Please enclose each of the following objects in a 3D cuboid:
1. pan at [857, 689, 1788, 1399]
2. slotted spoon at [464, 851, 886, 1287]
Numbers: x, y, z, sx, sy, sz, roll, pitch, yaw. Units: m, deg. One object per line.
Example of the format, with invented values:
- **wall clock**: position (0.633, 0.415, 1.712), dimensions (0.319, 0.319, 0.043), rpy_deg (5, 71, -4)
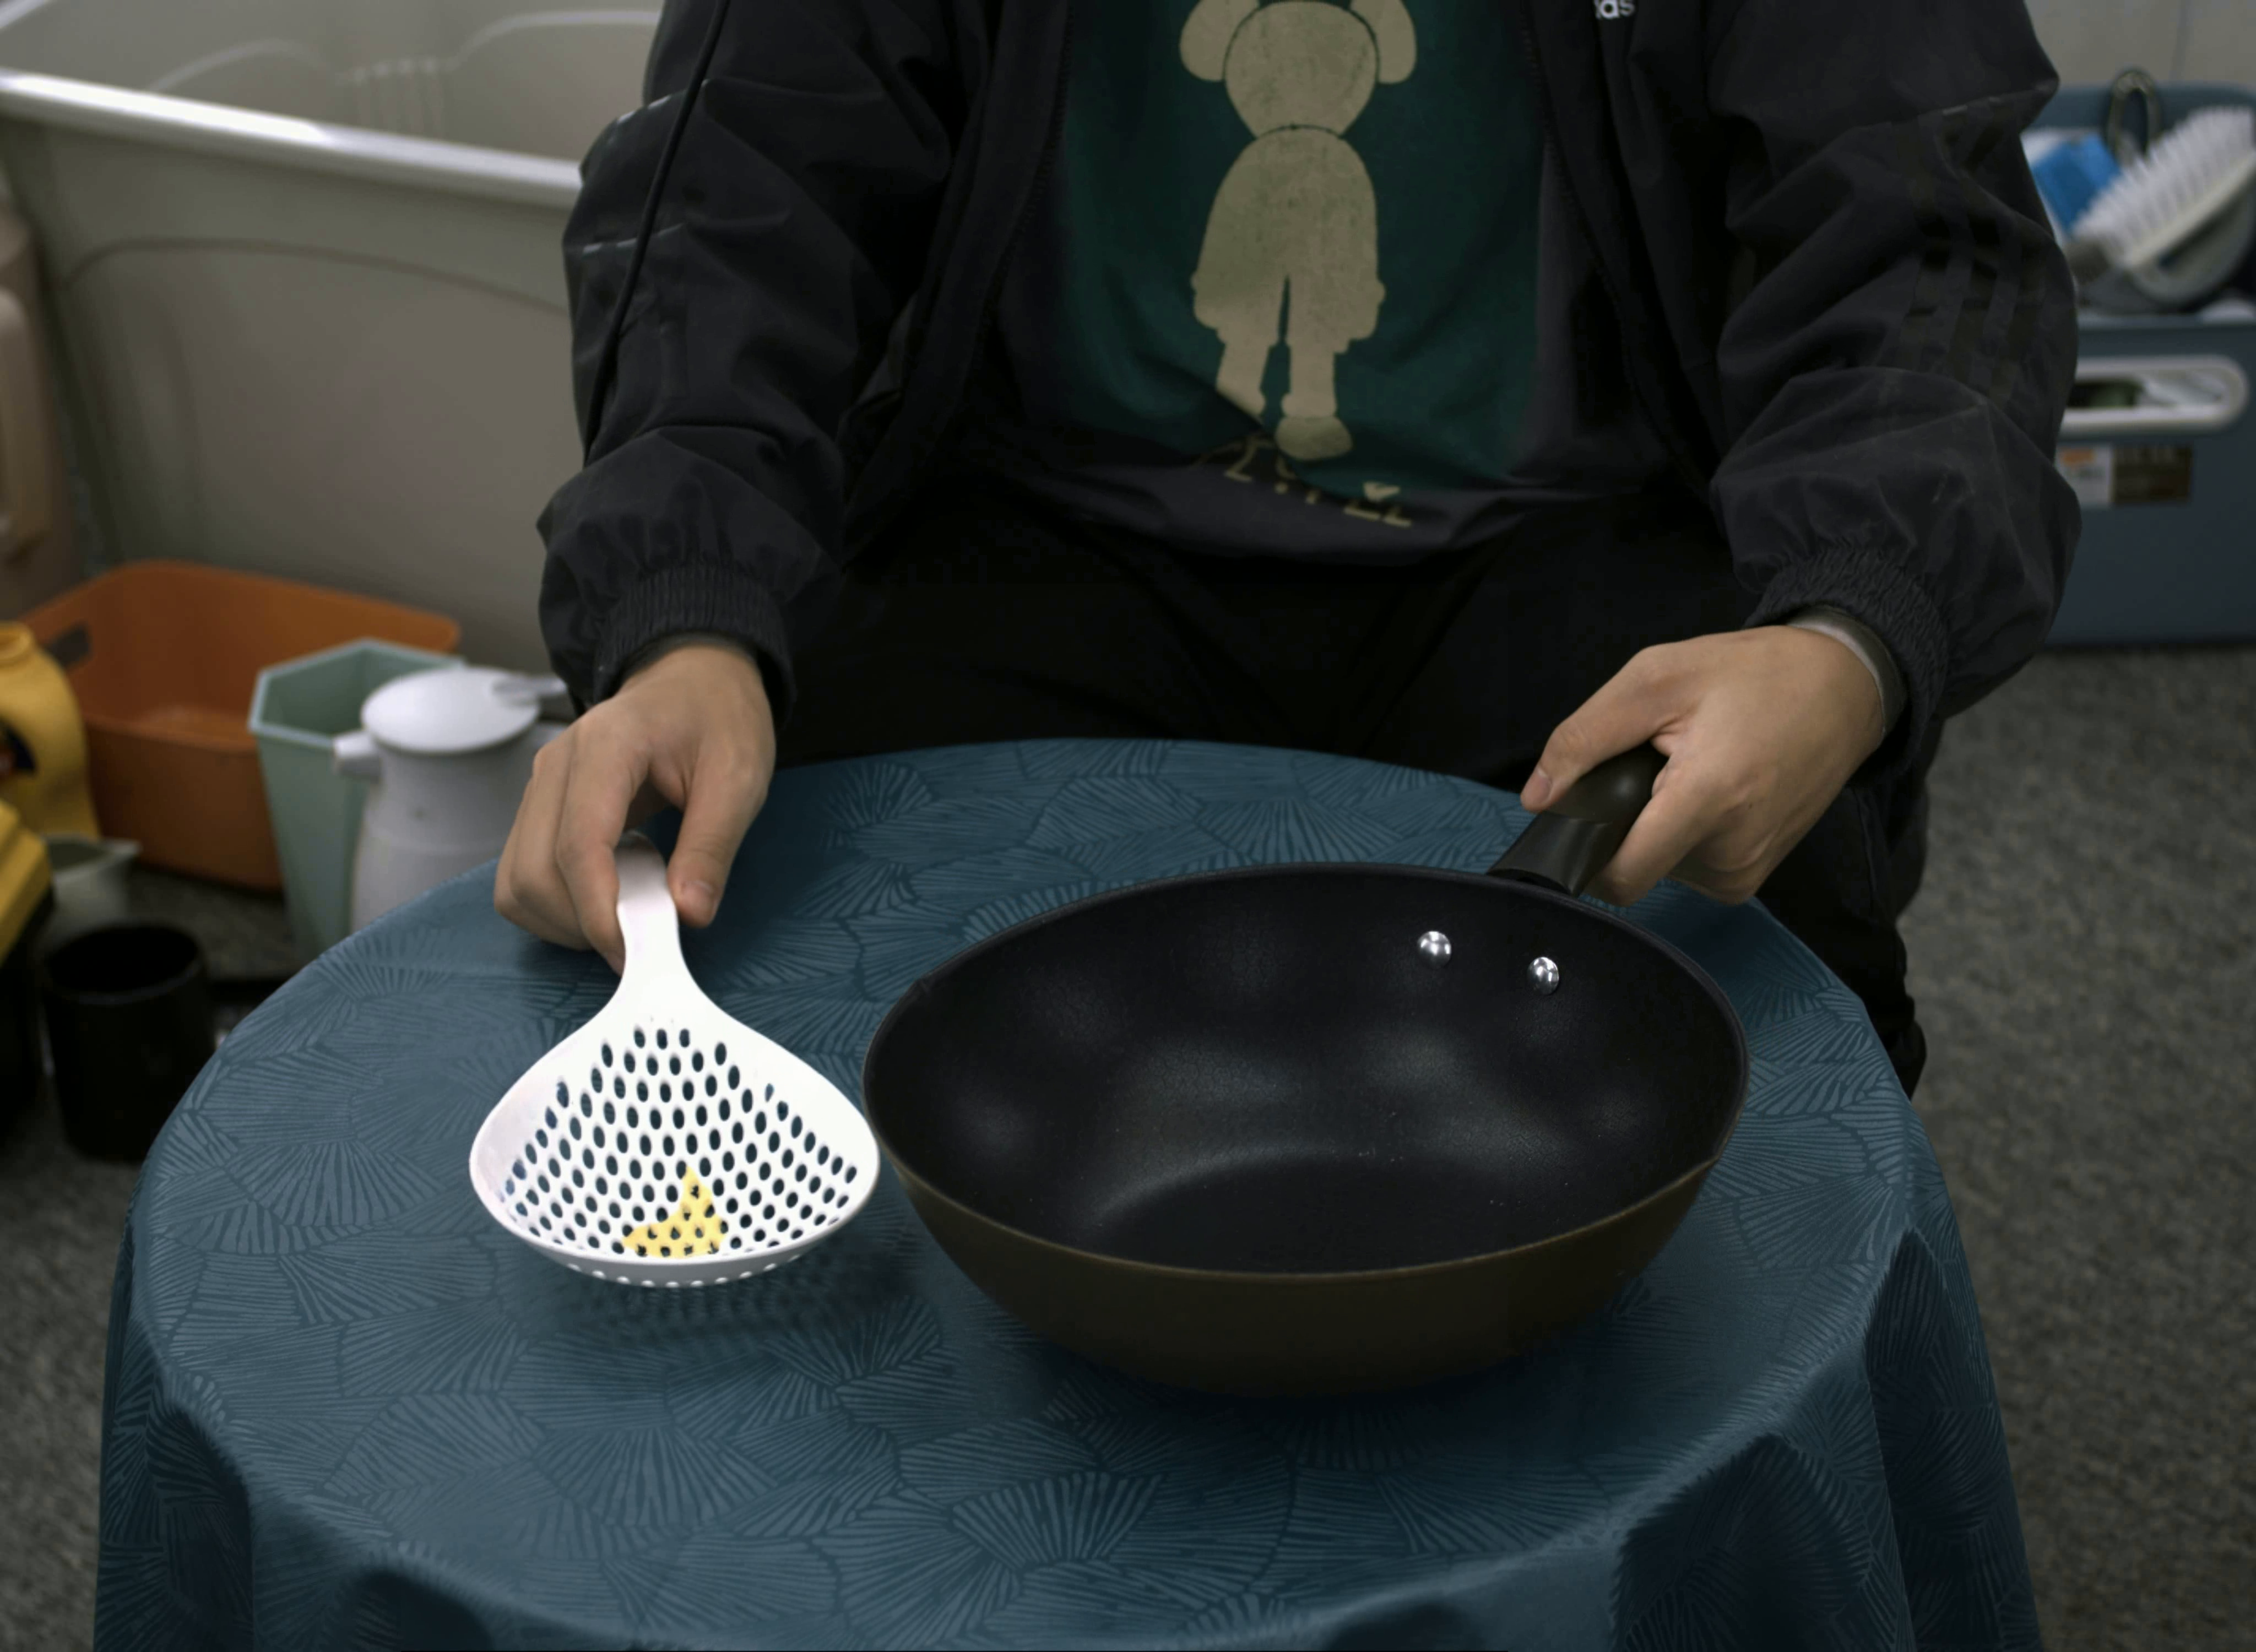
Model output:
- **pan**: position (0.103, 0.071, 1.858), dimensions (0.286, 0.086, 0.470), rpy_deg (12, 28, 28)
- **slotted spoon**: position (-0.161, 0.071, 1.923), dimensions (0.136, 0.050, 0.352), rpy_deg (-4, 28, -7)
